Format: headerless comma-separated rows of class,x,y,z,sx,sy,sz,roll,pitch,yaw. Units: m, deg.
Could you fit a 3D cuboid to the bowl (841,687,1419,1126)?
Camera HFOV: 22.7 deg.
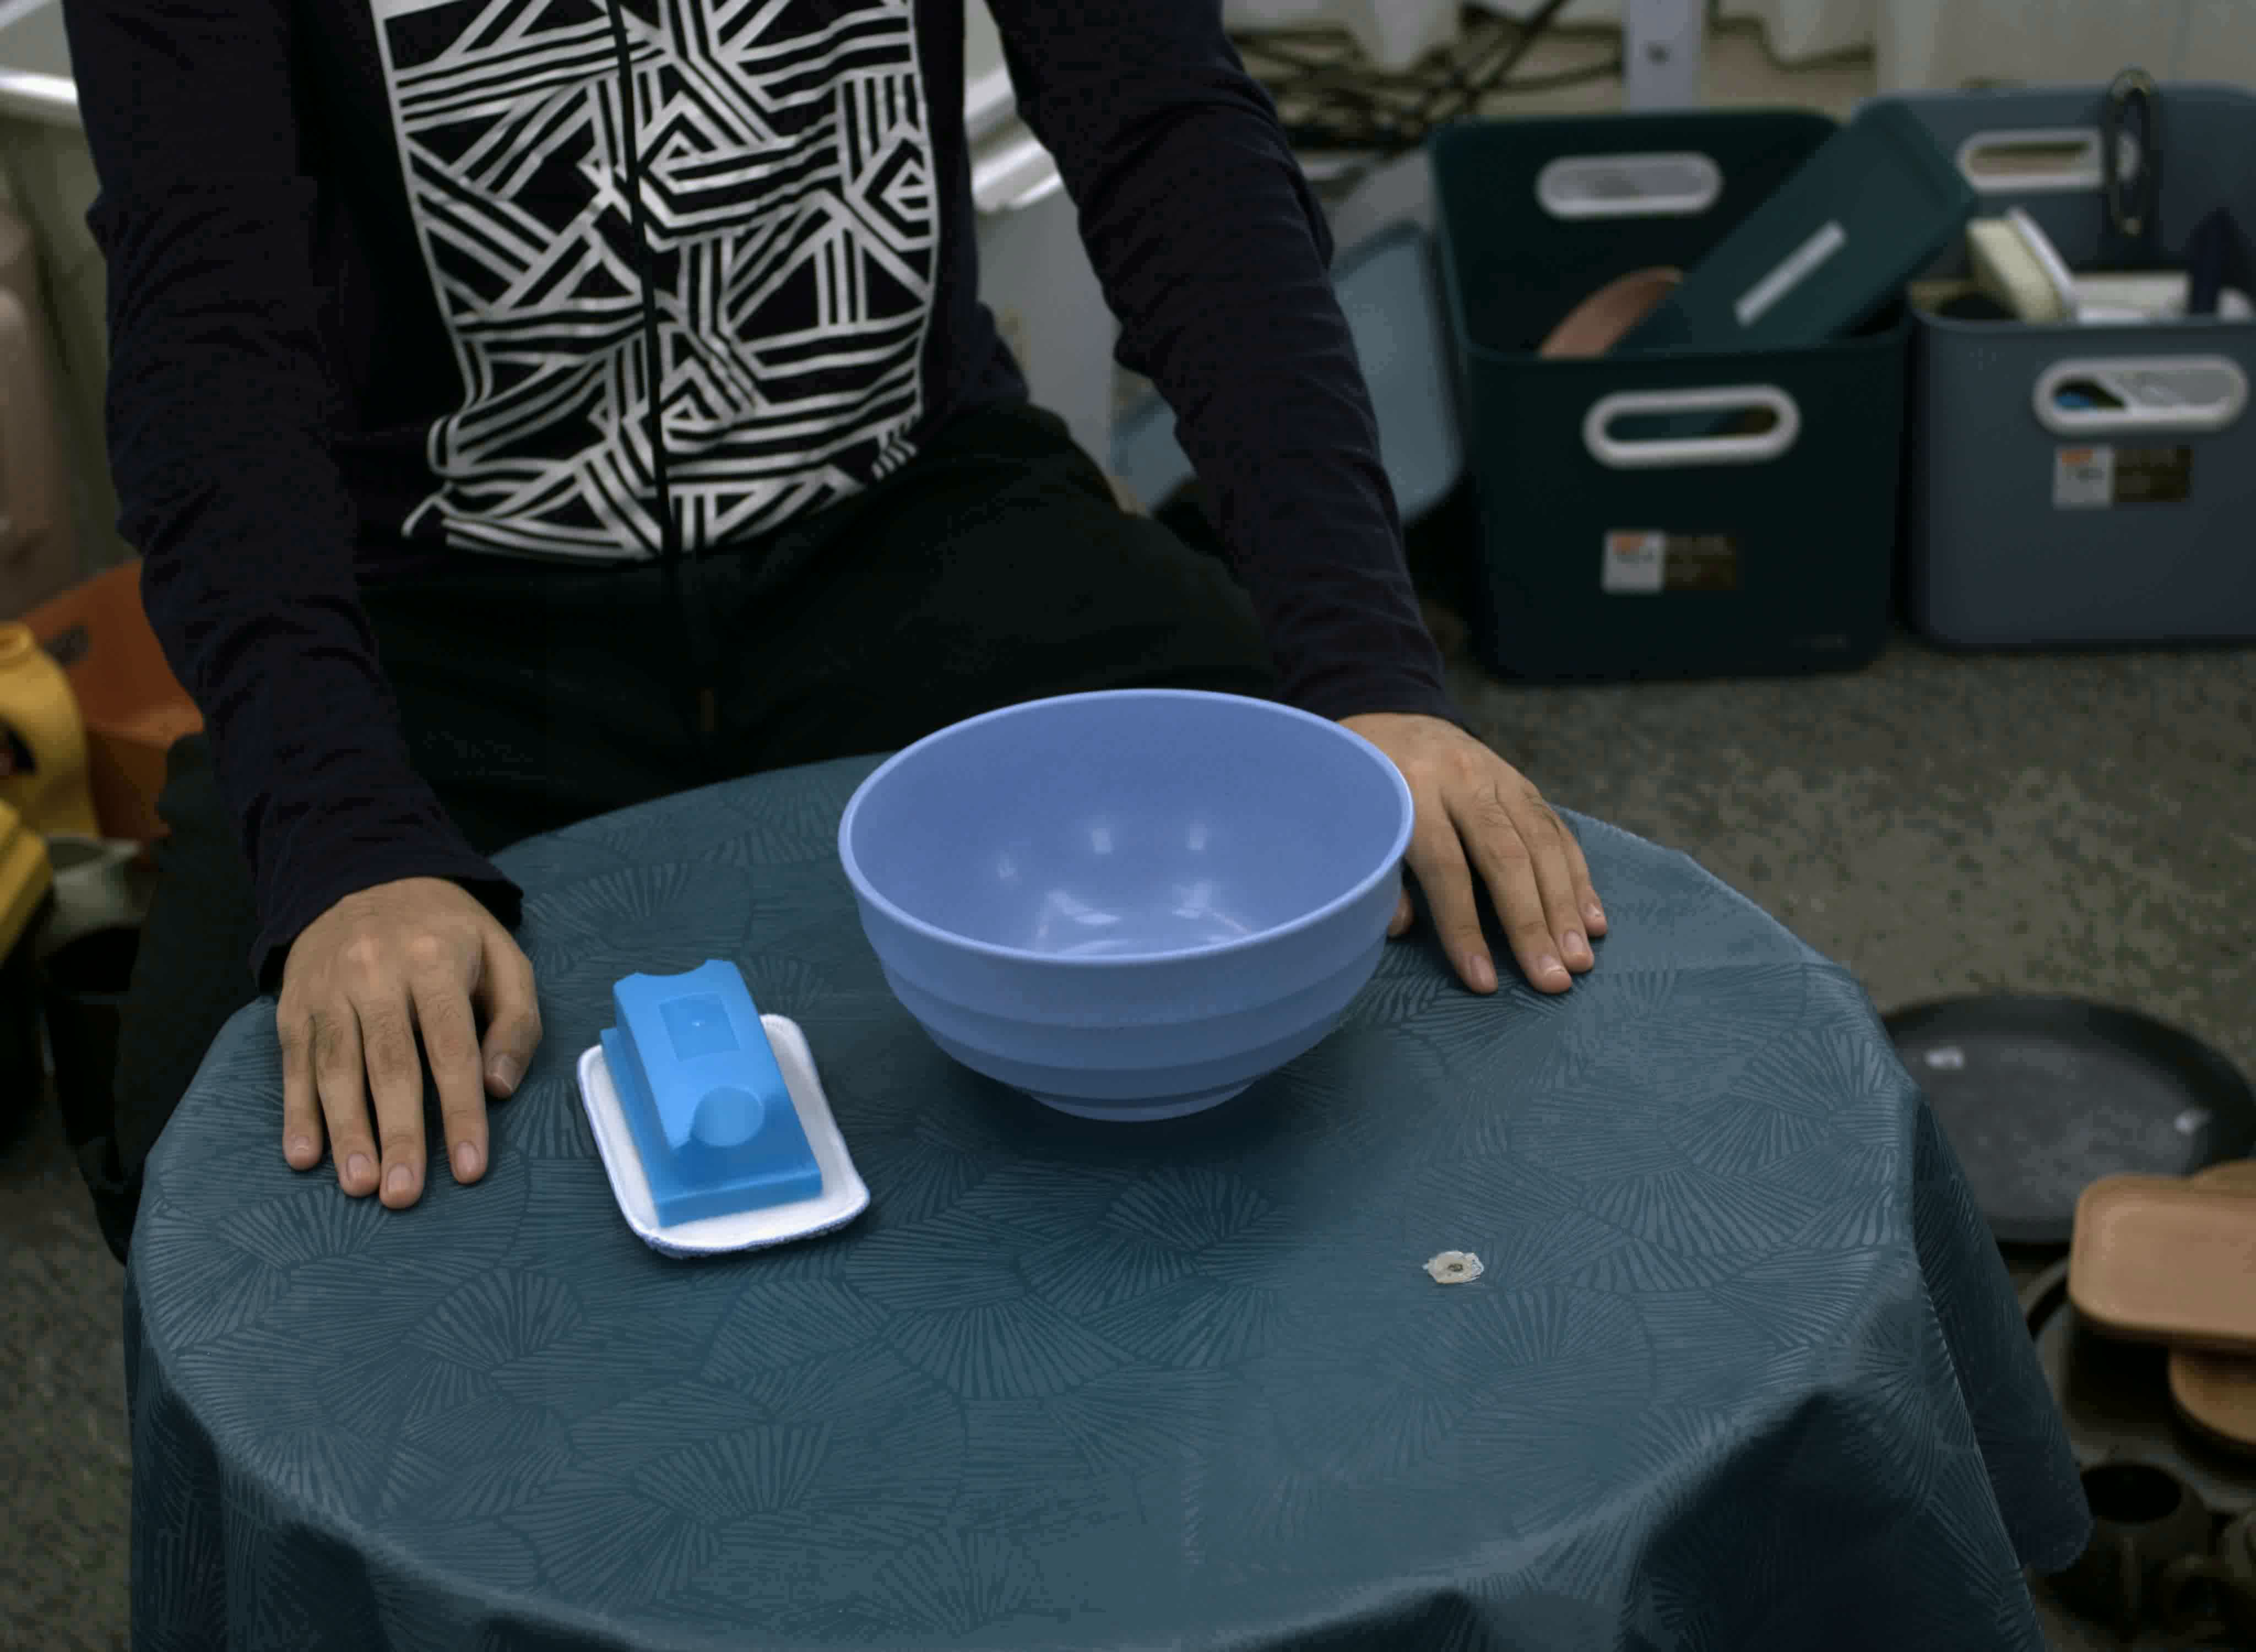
bowl,0.003,0.039,1.919,0.195,0.094,0.199,-2,28,1

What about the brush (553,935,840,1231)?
brush,-0.144,0.082,1.883,0.084,0.055,0.146,-5,30,-13
